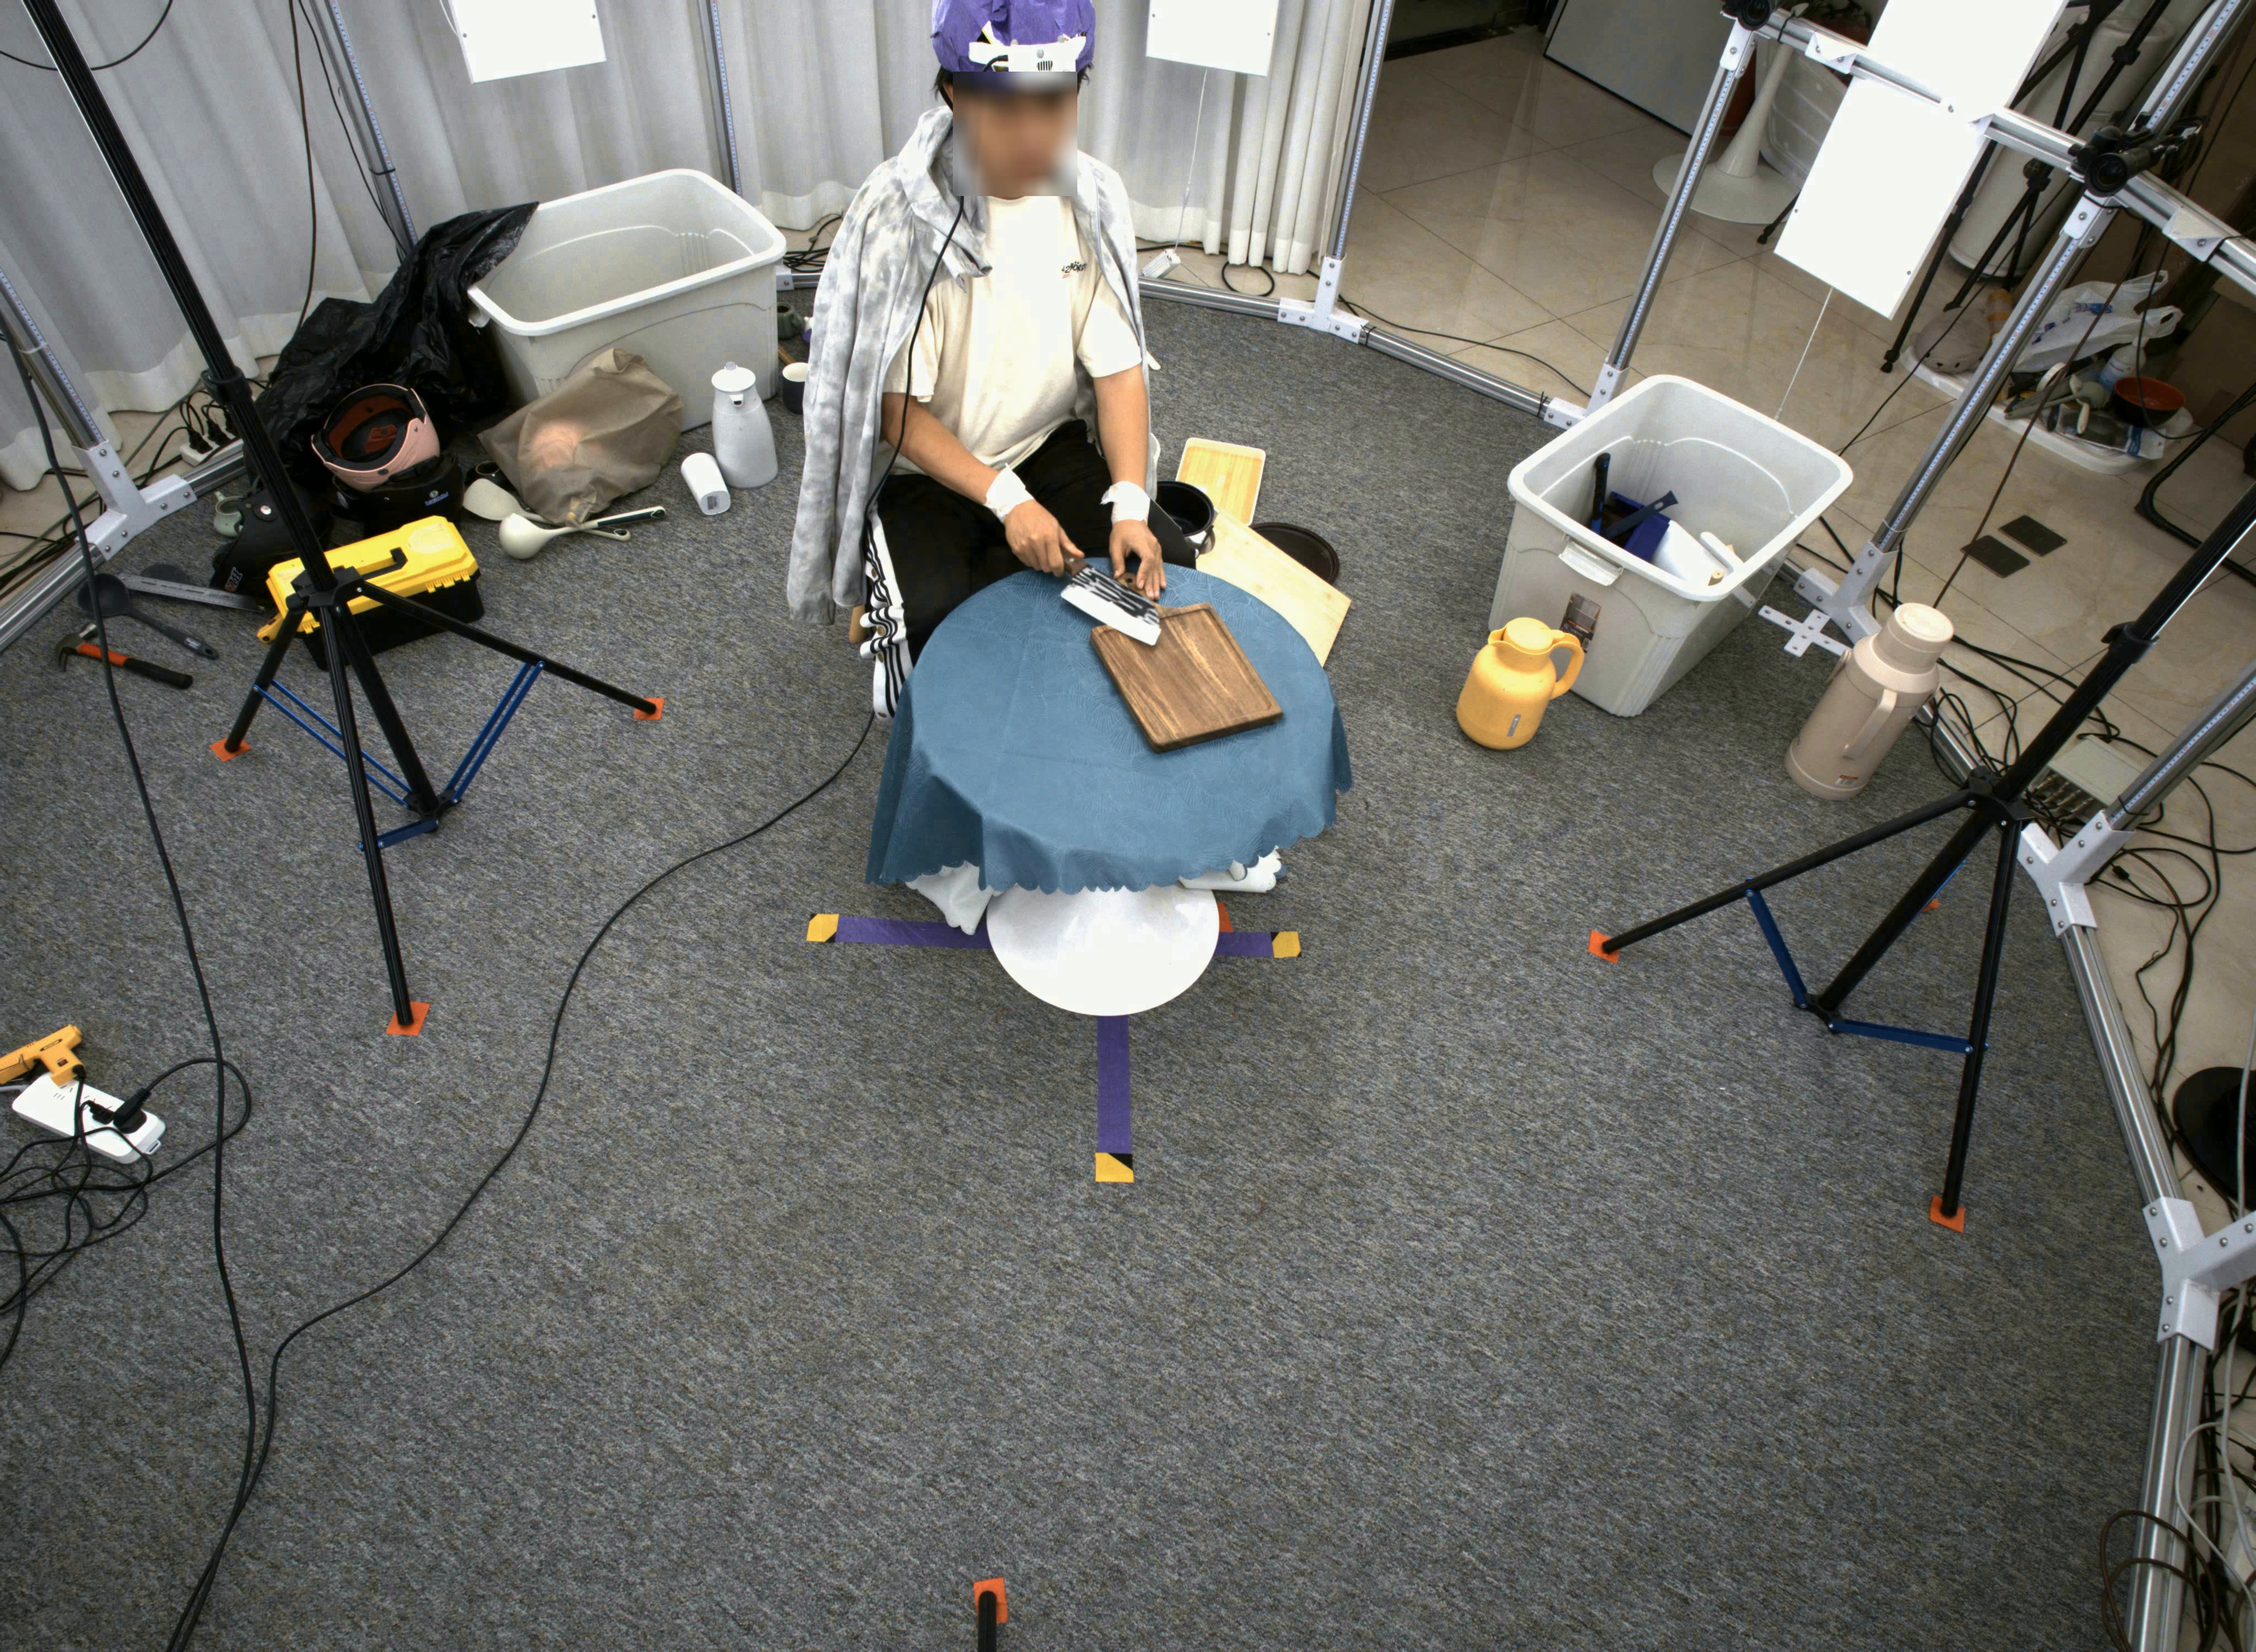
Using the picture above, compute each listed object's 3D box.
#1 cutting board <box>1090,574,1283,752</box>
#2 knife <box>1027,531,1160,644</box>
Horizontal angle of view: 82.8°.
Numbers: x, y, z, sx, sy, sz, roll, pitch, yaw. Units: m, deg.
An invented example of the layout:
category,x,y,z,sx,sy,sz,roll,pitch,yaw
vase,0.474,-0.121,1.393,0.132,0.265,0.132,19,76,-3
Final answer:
category,x,y,z,sx,sy,sz,roll,pitch,yaw
cutting board,0.062,-0.256,1.874,0.201,0.022,0.360,-15,51,-17
knife,-0.058,-0.360,1.934,0.304,0.023,0.068,36,75,26
